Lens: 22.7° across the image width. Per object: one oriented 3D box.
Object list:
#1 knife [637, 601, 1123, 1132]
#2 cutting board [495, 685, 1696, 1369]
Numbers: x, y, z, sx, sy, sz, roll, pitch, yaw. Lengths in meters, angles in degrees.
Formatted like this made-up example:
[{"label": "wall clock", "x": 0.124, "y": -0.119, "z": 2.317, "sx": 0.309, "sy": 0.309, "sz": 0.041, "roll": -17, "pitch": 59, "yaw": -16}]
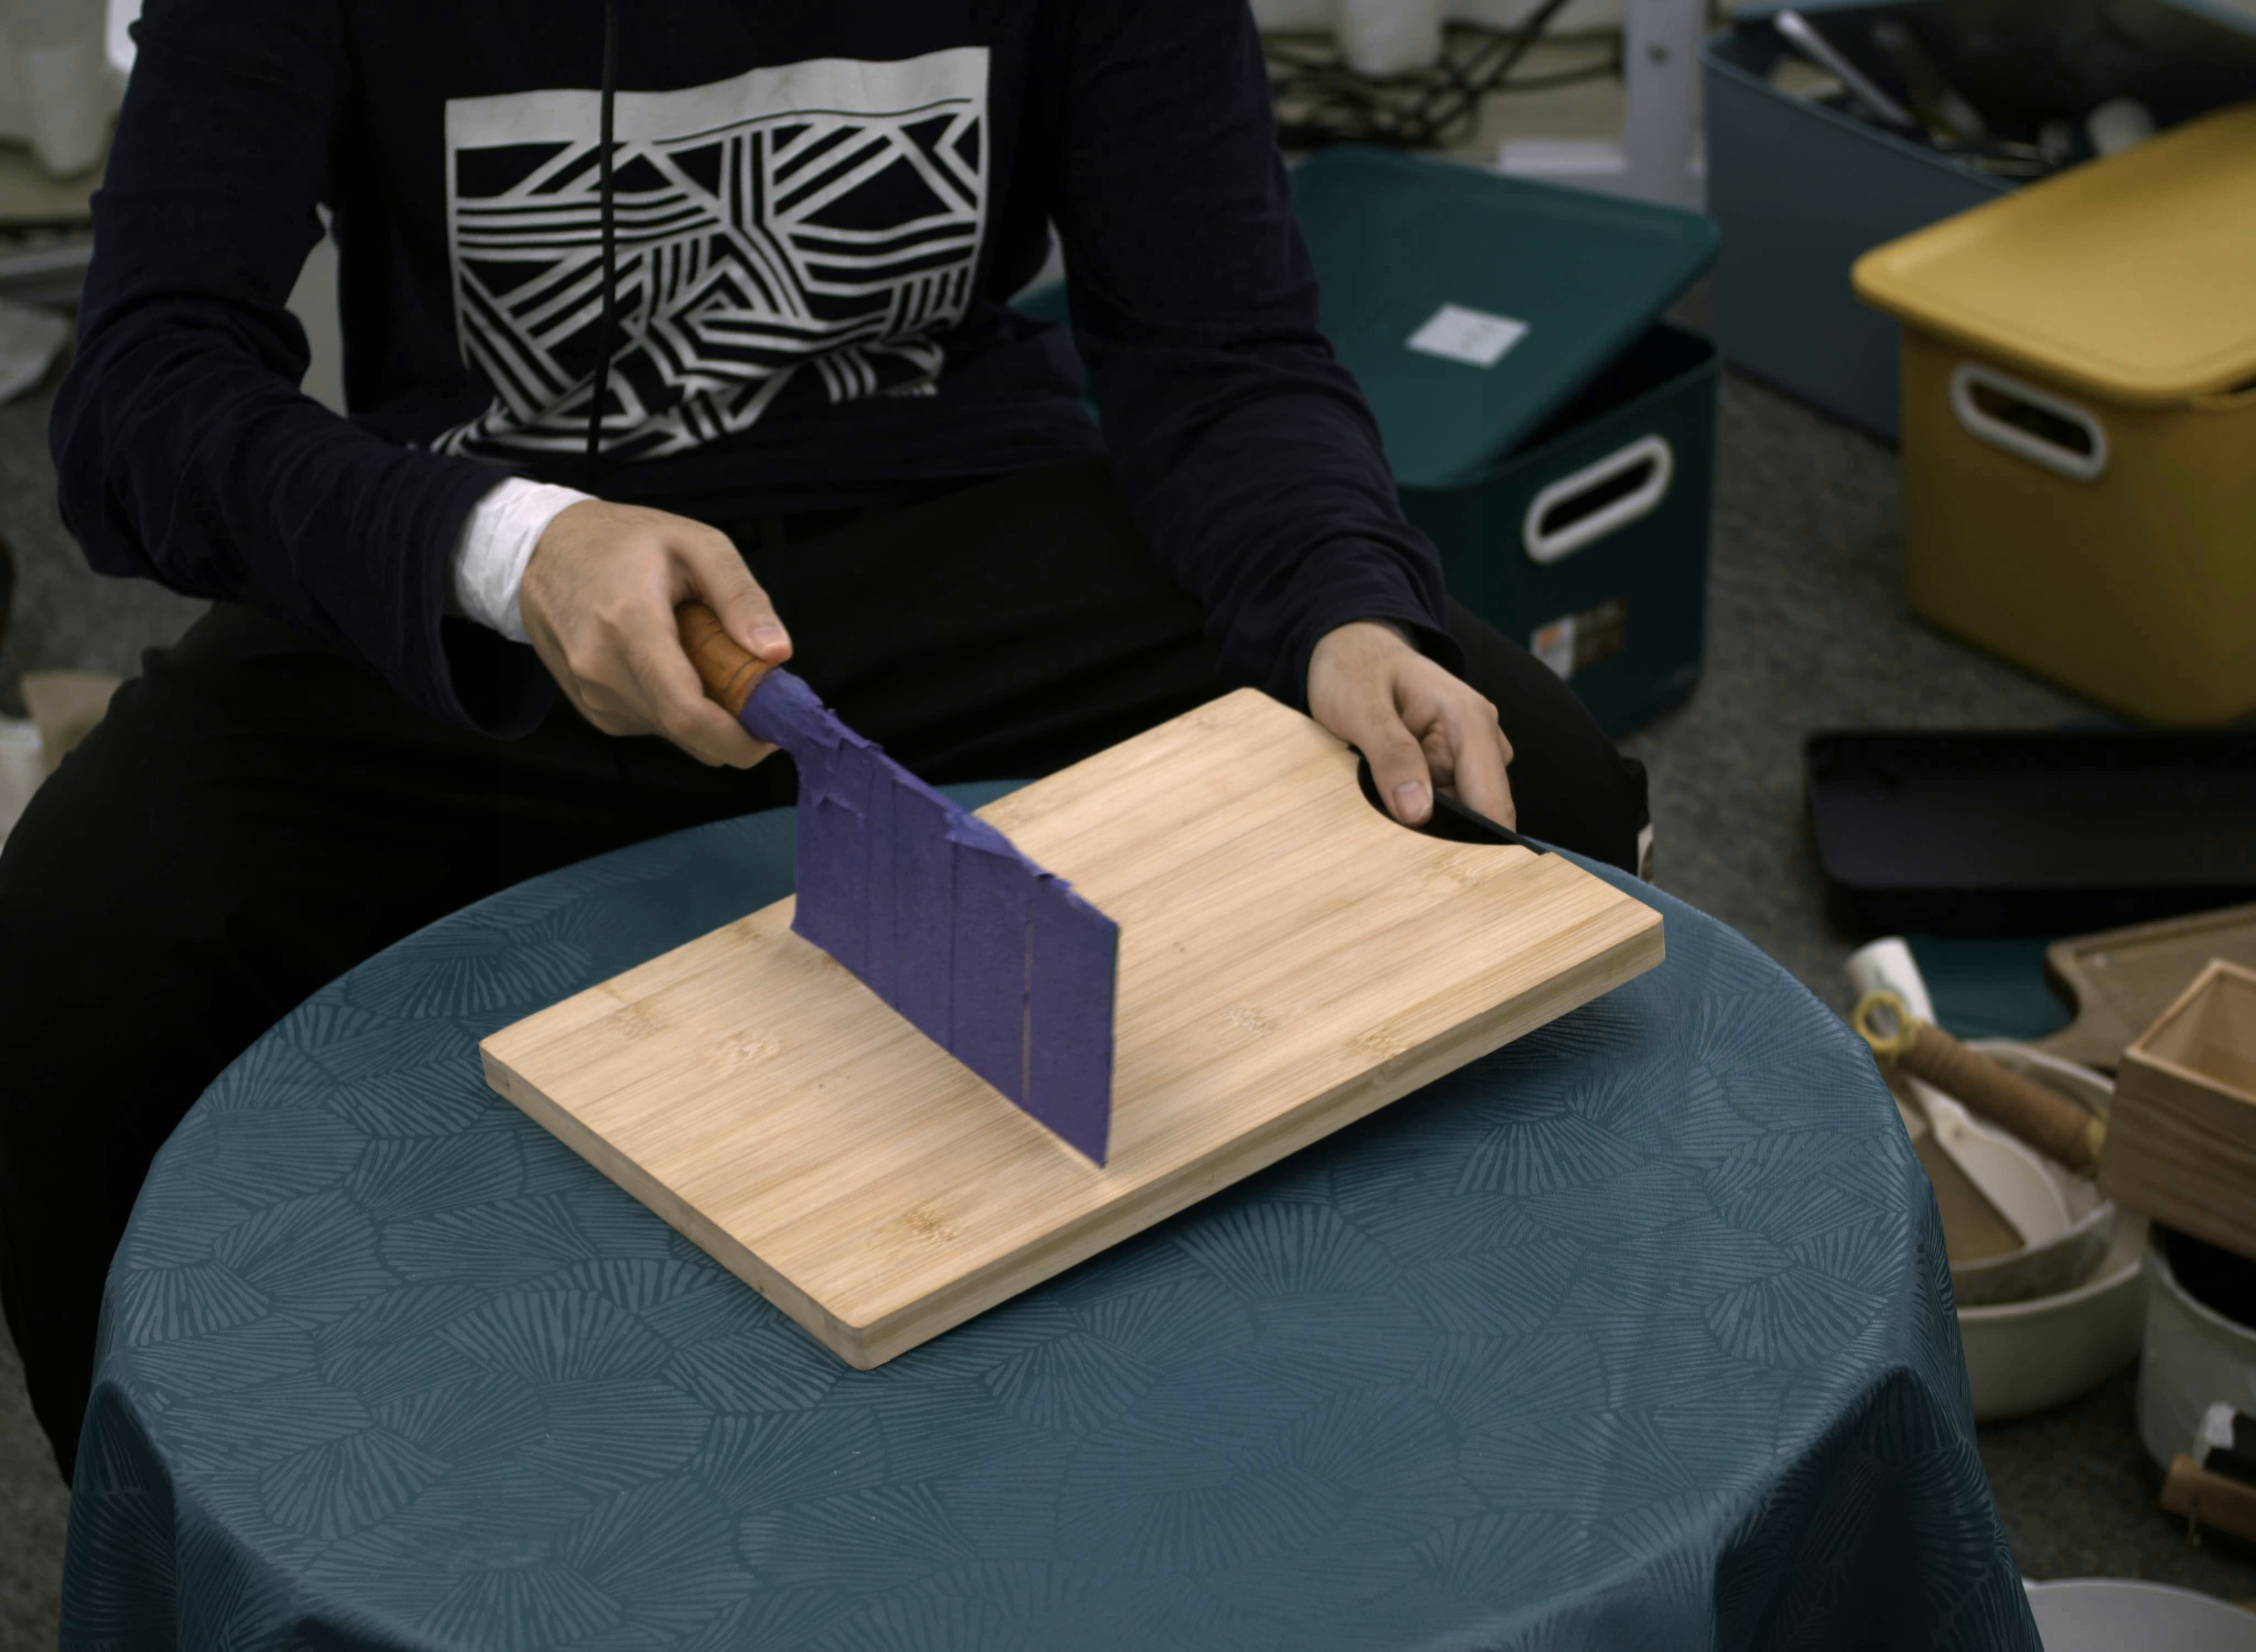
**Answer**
[{"label": "knife", "x": -0.088, "y": 0.013, "z": 1.918, "sx": 0.032, "sy": 0.103, "sz": 0.316, "roll": -7, "pitch": 24, "yaw": -30}, {"label": "cutting board", "x": -0.015, "y": 0.059, "z": 1.937, "sx": 0.352, "sy": 0.023, "sz": 0.251, "roll": -25, "pitch": 35, "yaw": -29}]
